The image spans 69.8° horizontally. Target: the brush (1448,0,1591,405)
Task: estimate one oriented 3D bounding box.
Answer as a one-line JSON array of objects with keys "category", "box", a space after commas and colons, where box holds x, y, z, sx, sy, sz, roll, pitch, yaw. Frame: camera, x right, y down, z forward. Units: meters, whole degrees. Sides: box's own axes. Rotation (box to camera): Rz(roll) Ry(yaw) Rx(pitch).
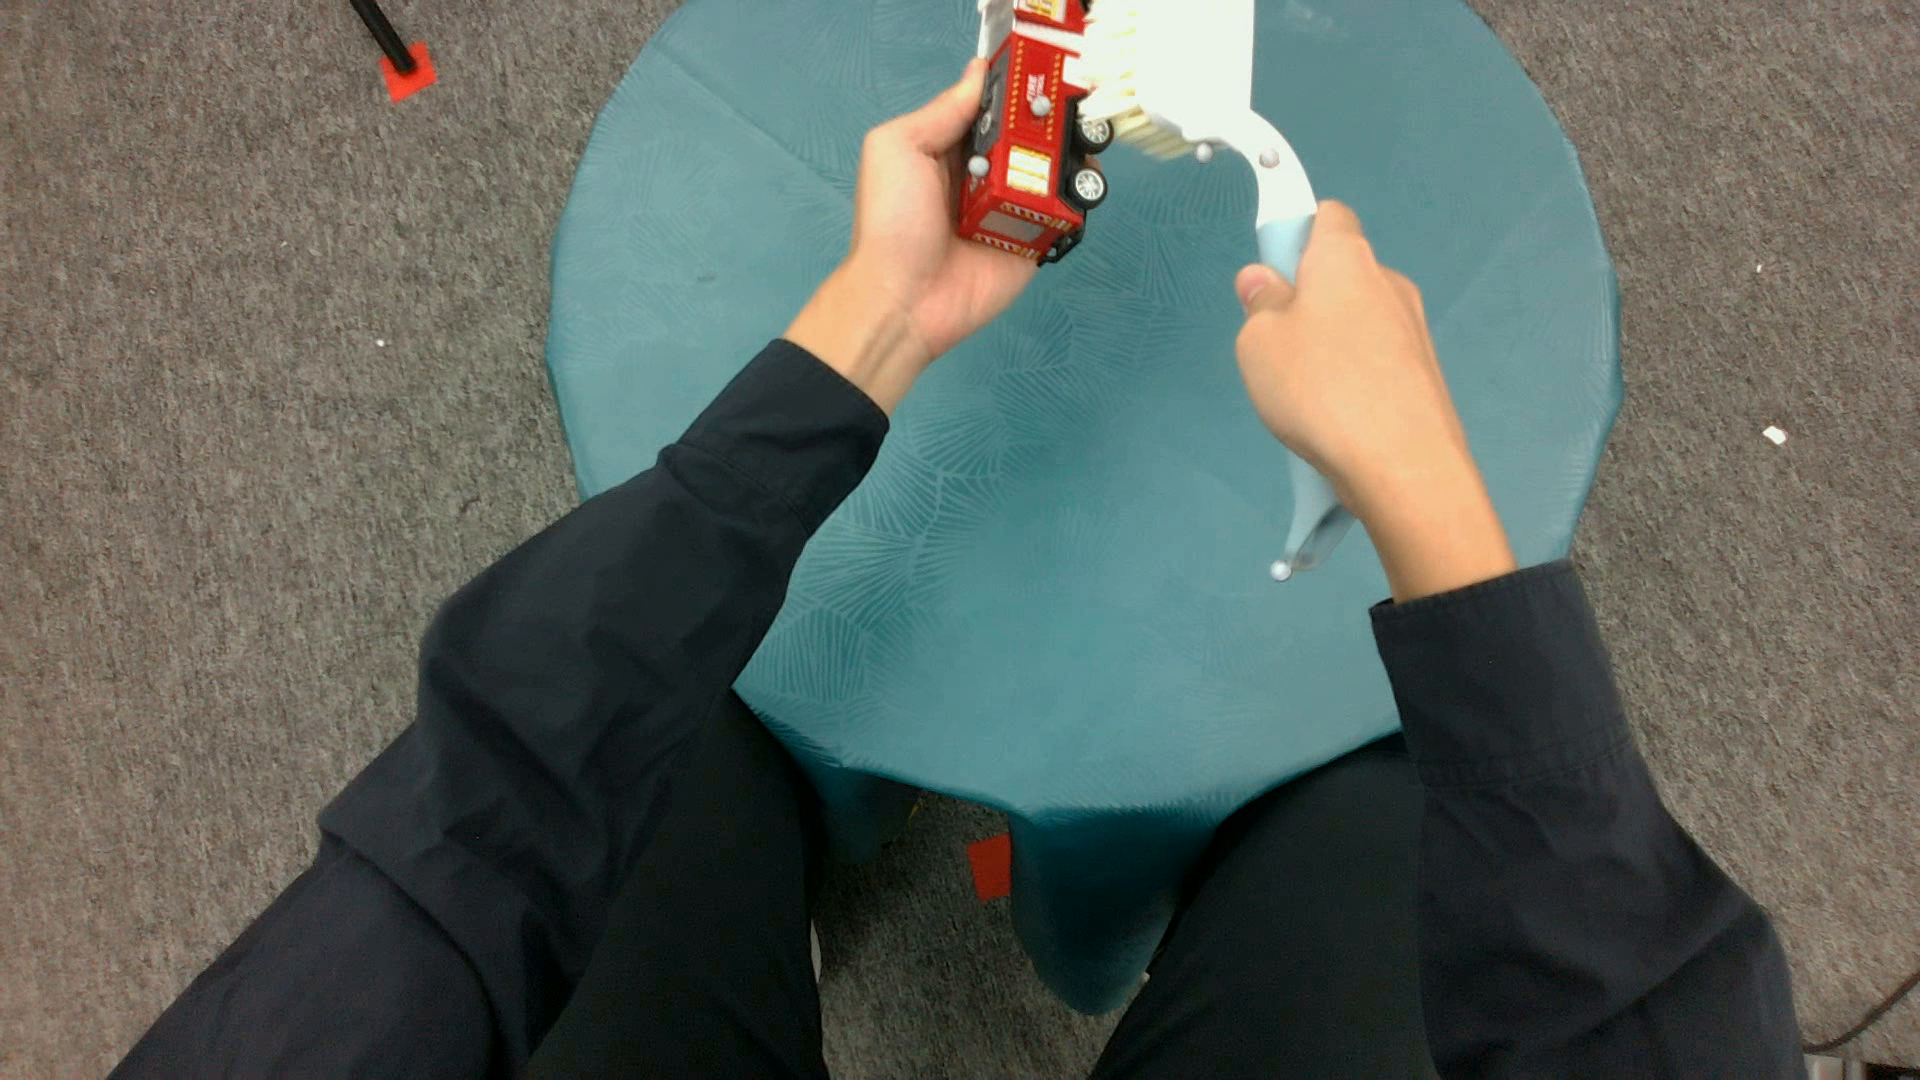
[{"category": "brush", "box": [0.185, -0.212, 0.519, 0.083, 0.084, 0.325, 9, 89, -4]}]
